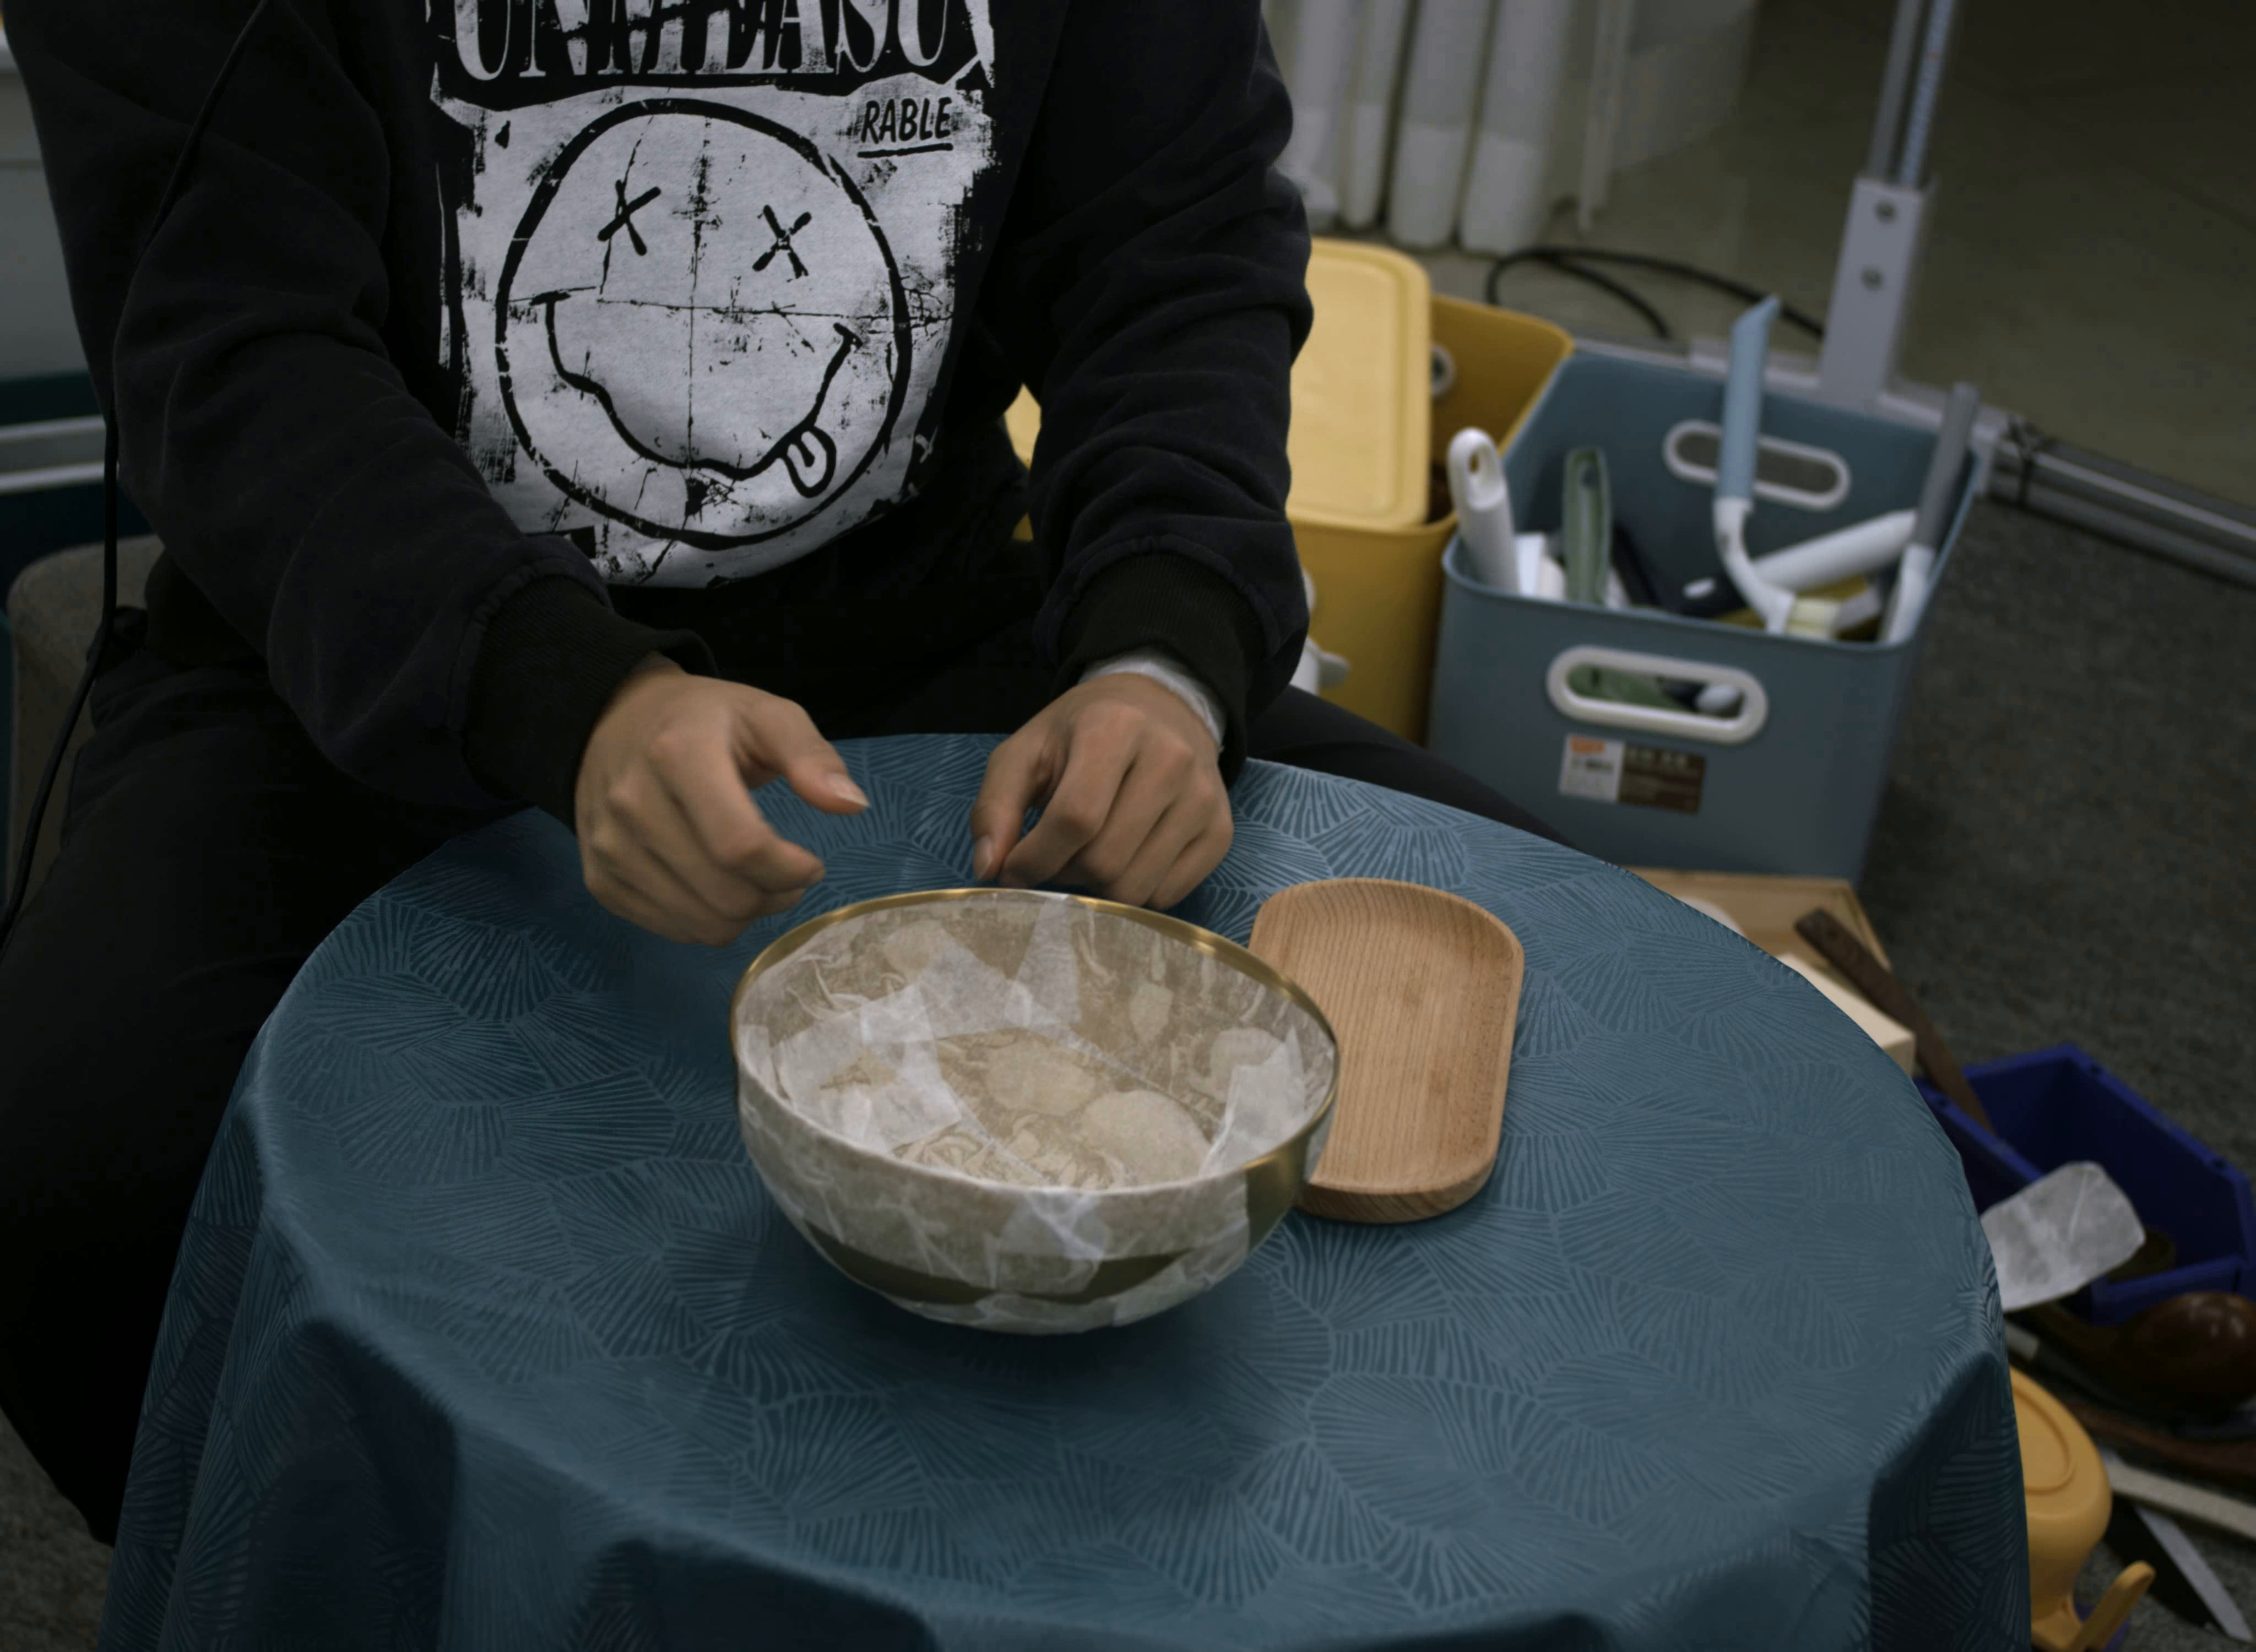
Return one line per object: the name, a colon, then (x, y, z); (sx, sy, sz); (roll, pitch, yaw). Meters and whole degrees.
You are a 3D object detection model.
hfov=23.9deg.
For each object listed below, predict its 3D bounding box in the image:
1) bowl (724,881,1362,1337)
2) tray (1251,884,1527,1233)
bowl: (-0.031, 0.103, 1.730); (0.214, 0.094, 0.216); (4, 26, -2)
tray: (0.088, 0.080, 1.889); (0.101, 0.020, 0.232); (6, 28, 4)
